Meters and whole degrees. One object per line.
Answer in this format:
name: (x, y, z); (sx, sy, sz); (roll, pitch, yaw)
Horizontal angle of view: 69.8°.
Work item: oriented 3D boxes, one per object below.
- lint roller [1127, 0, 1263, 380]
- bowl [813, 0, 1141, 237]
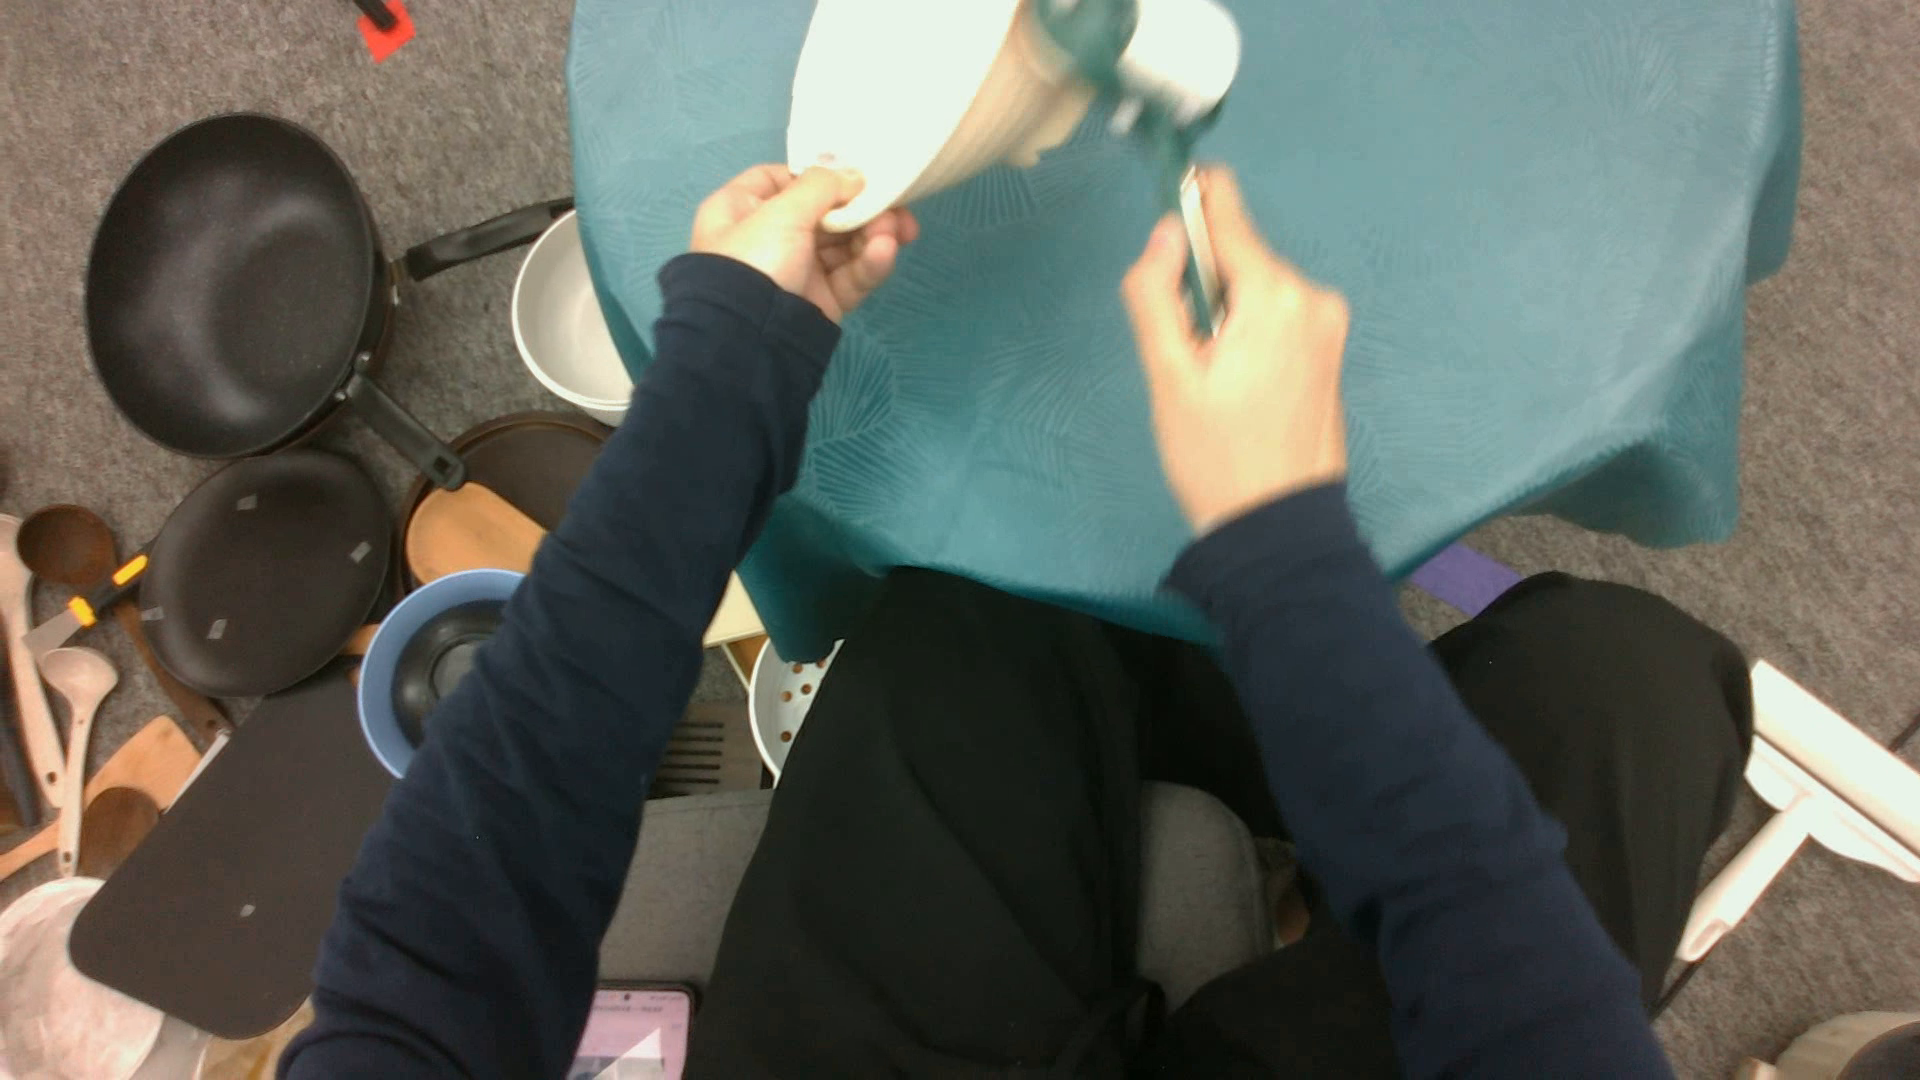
lint roller: (0.097, -0.152, 0.510); (0.048, 0.134, 0.180); (-15, 89, 23)
bowl: (0.018, -0.214, 0.575); (0.078, 0.203, 0.204); (15, 75, -30)
